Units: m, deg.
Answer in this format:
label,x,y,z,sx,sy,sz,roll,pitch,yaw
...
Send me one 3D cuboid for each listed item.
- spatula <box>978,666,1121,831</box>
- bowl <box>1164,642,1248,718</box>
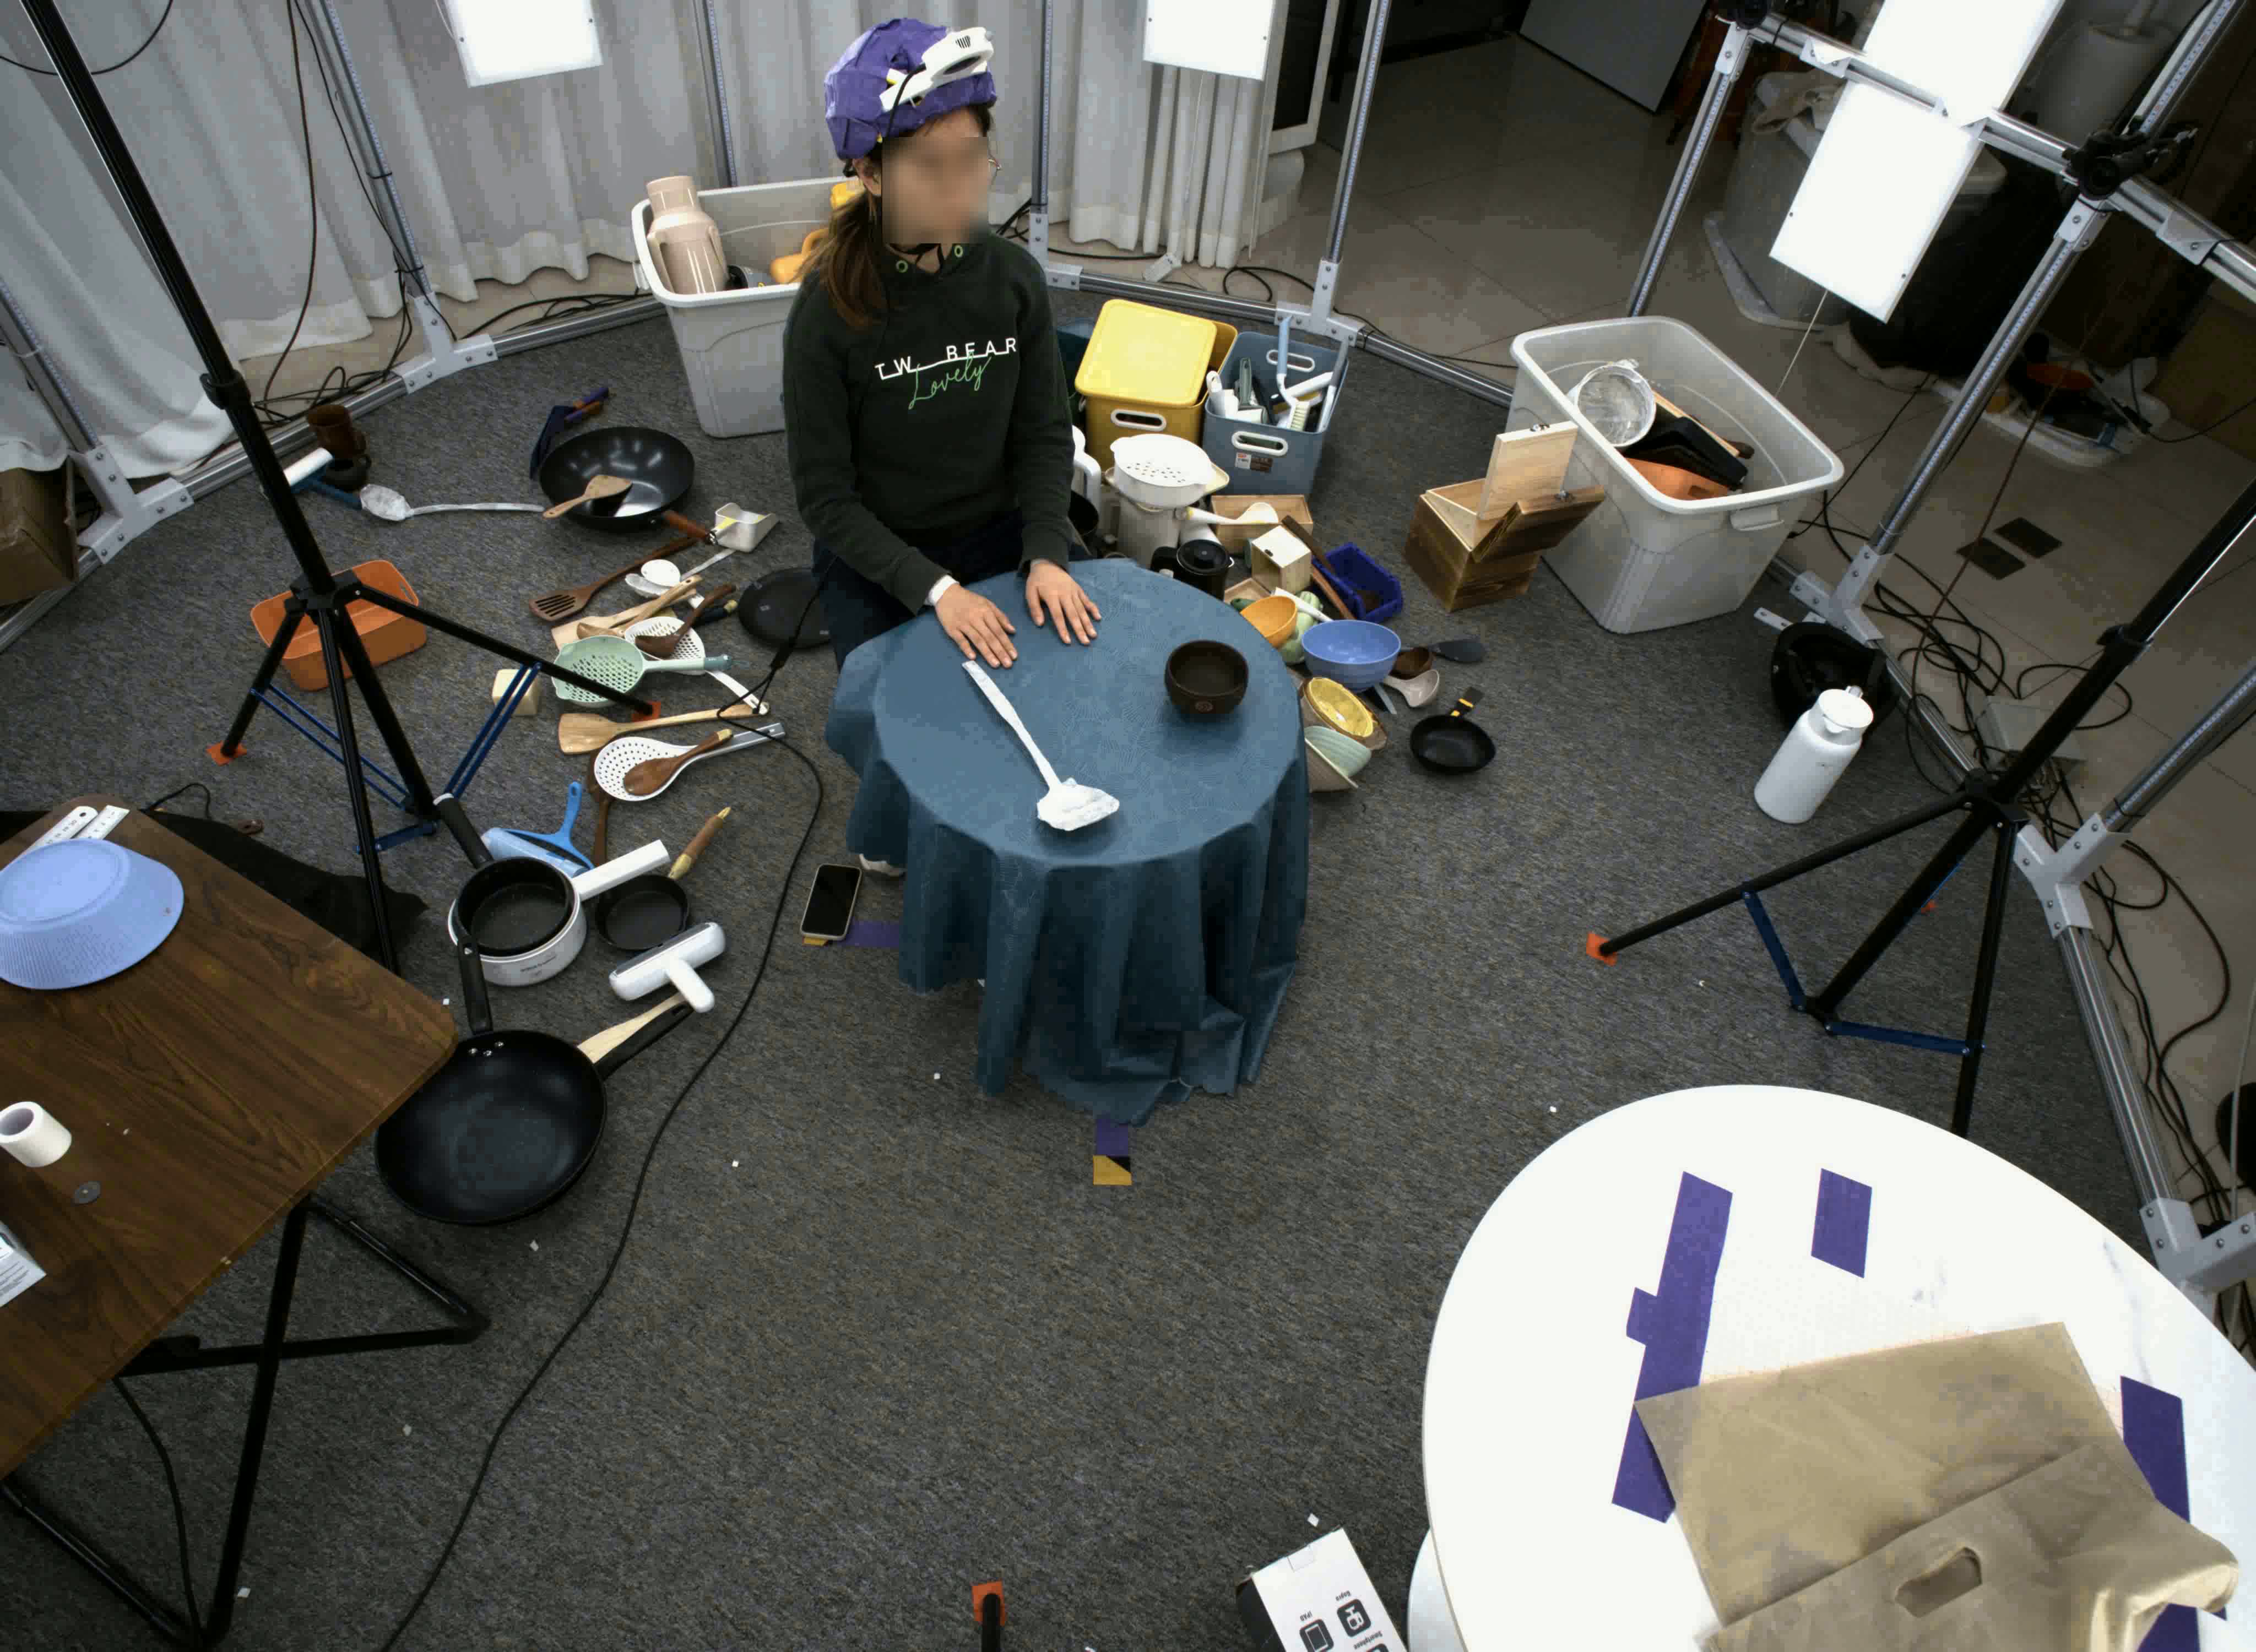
label,x,y,z,sx,sy,sz,roll,pitch,yaw
spatula,-0.130,-0.117,1.752,0.099,0.043,0.373,-21,54,-19
bowl,0.109,-0.199,1.819,0.118,0.068,0.121,2,47,-2
